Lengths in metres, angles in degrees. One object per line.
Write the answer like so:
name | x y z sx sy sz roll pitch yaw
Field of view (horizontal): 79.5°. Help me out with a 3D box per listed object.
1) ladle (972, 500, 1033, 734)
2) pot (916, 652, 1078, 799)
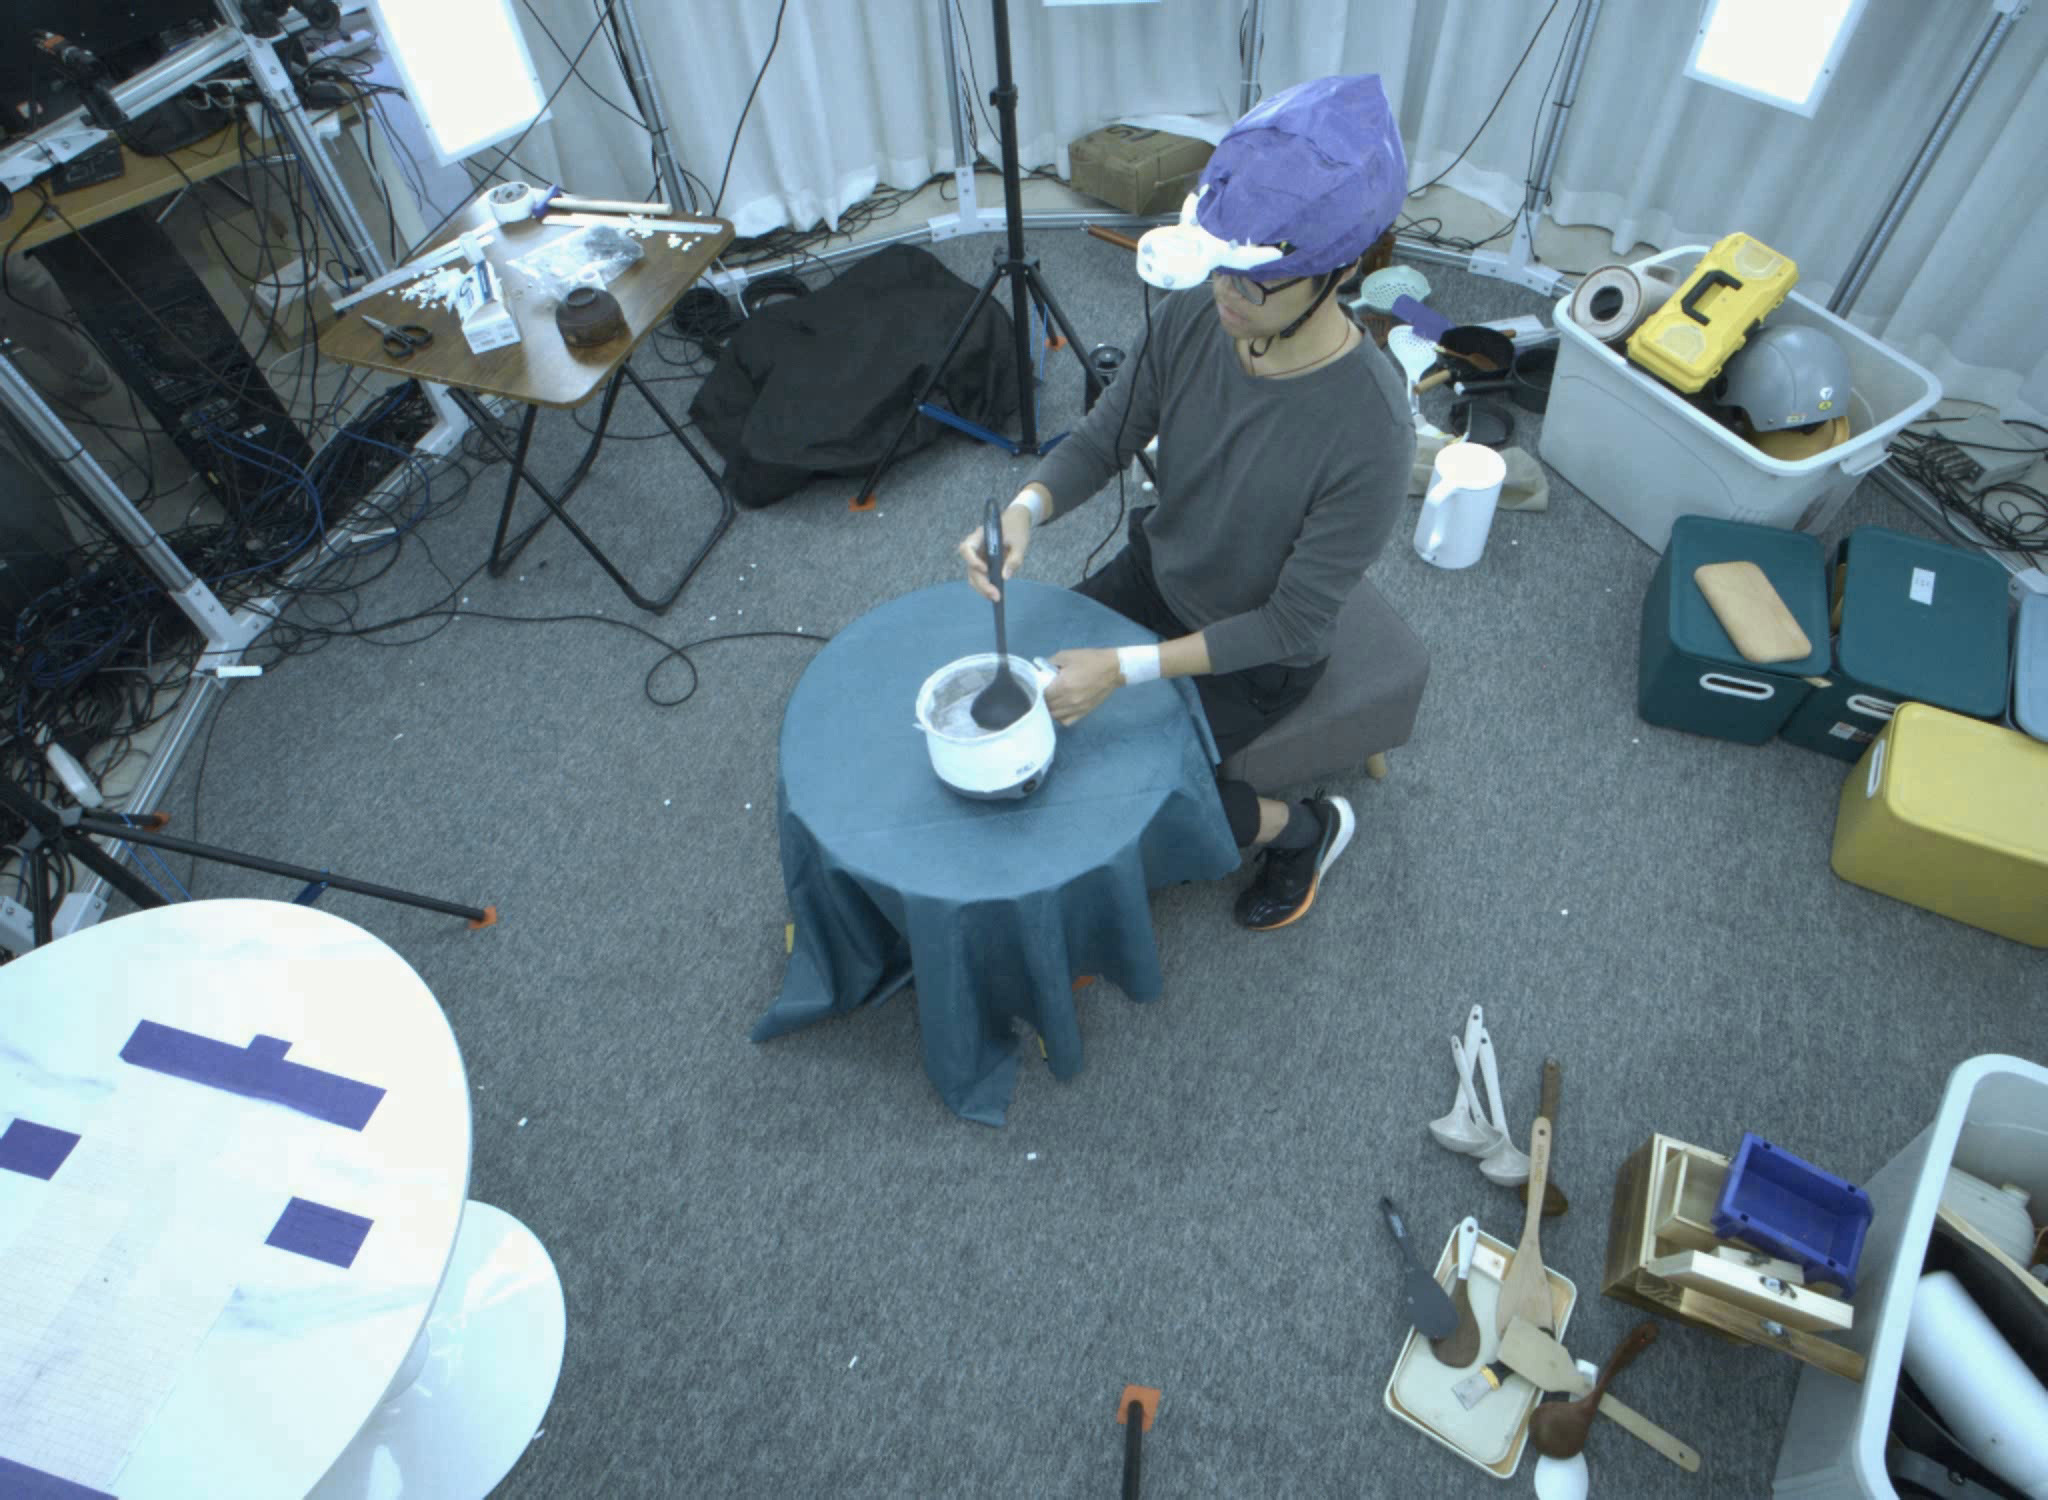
ladle | -0.037 -0.173 1.638 0.086 0.316 0.063 -1 23 7
pot | -0.028 -0.045 1.731 0.235 0.138 0.175 -33 49 -20
